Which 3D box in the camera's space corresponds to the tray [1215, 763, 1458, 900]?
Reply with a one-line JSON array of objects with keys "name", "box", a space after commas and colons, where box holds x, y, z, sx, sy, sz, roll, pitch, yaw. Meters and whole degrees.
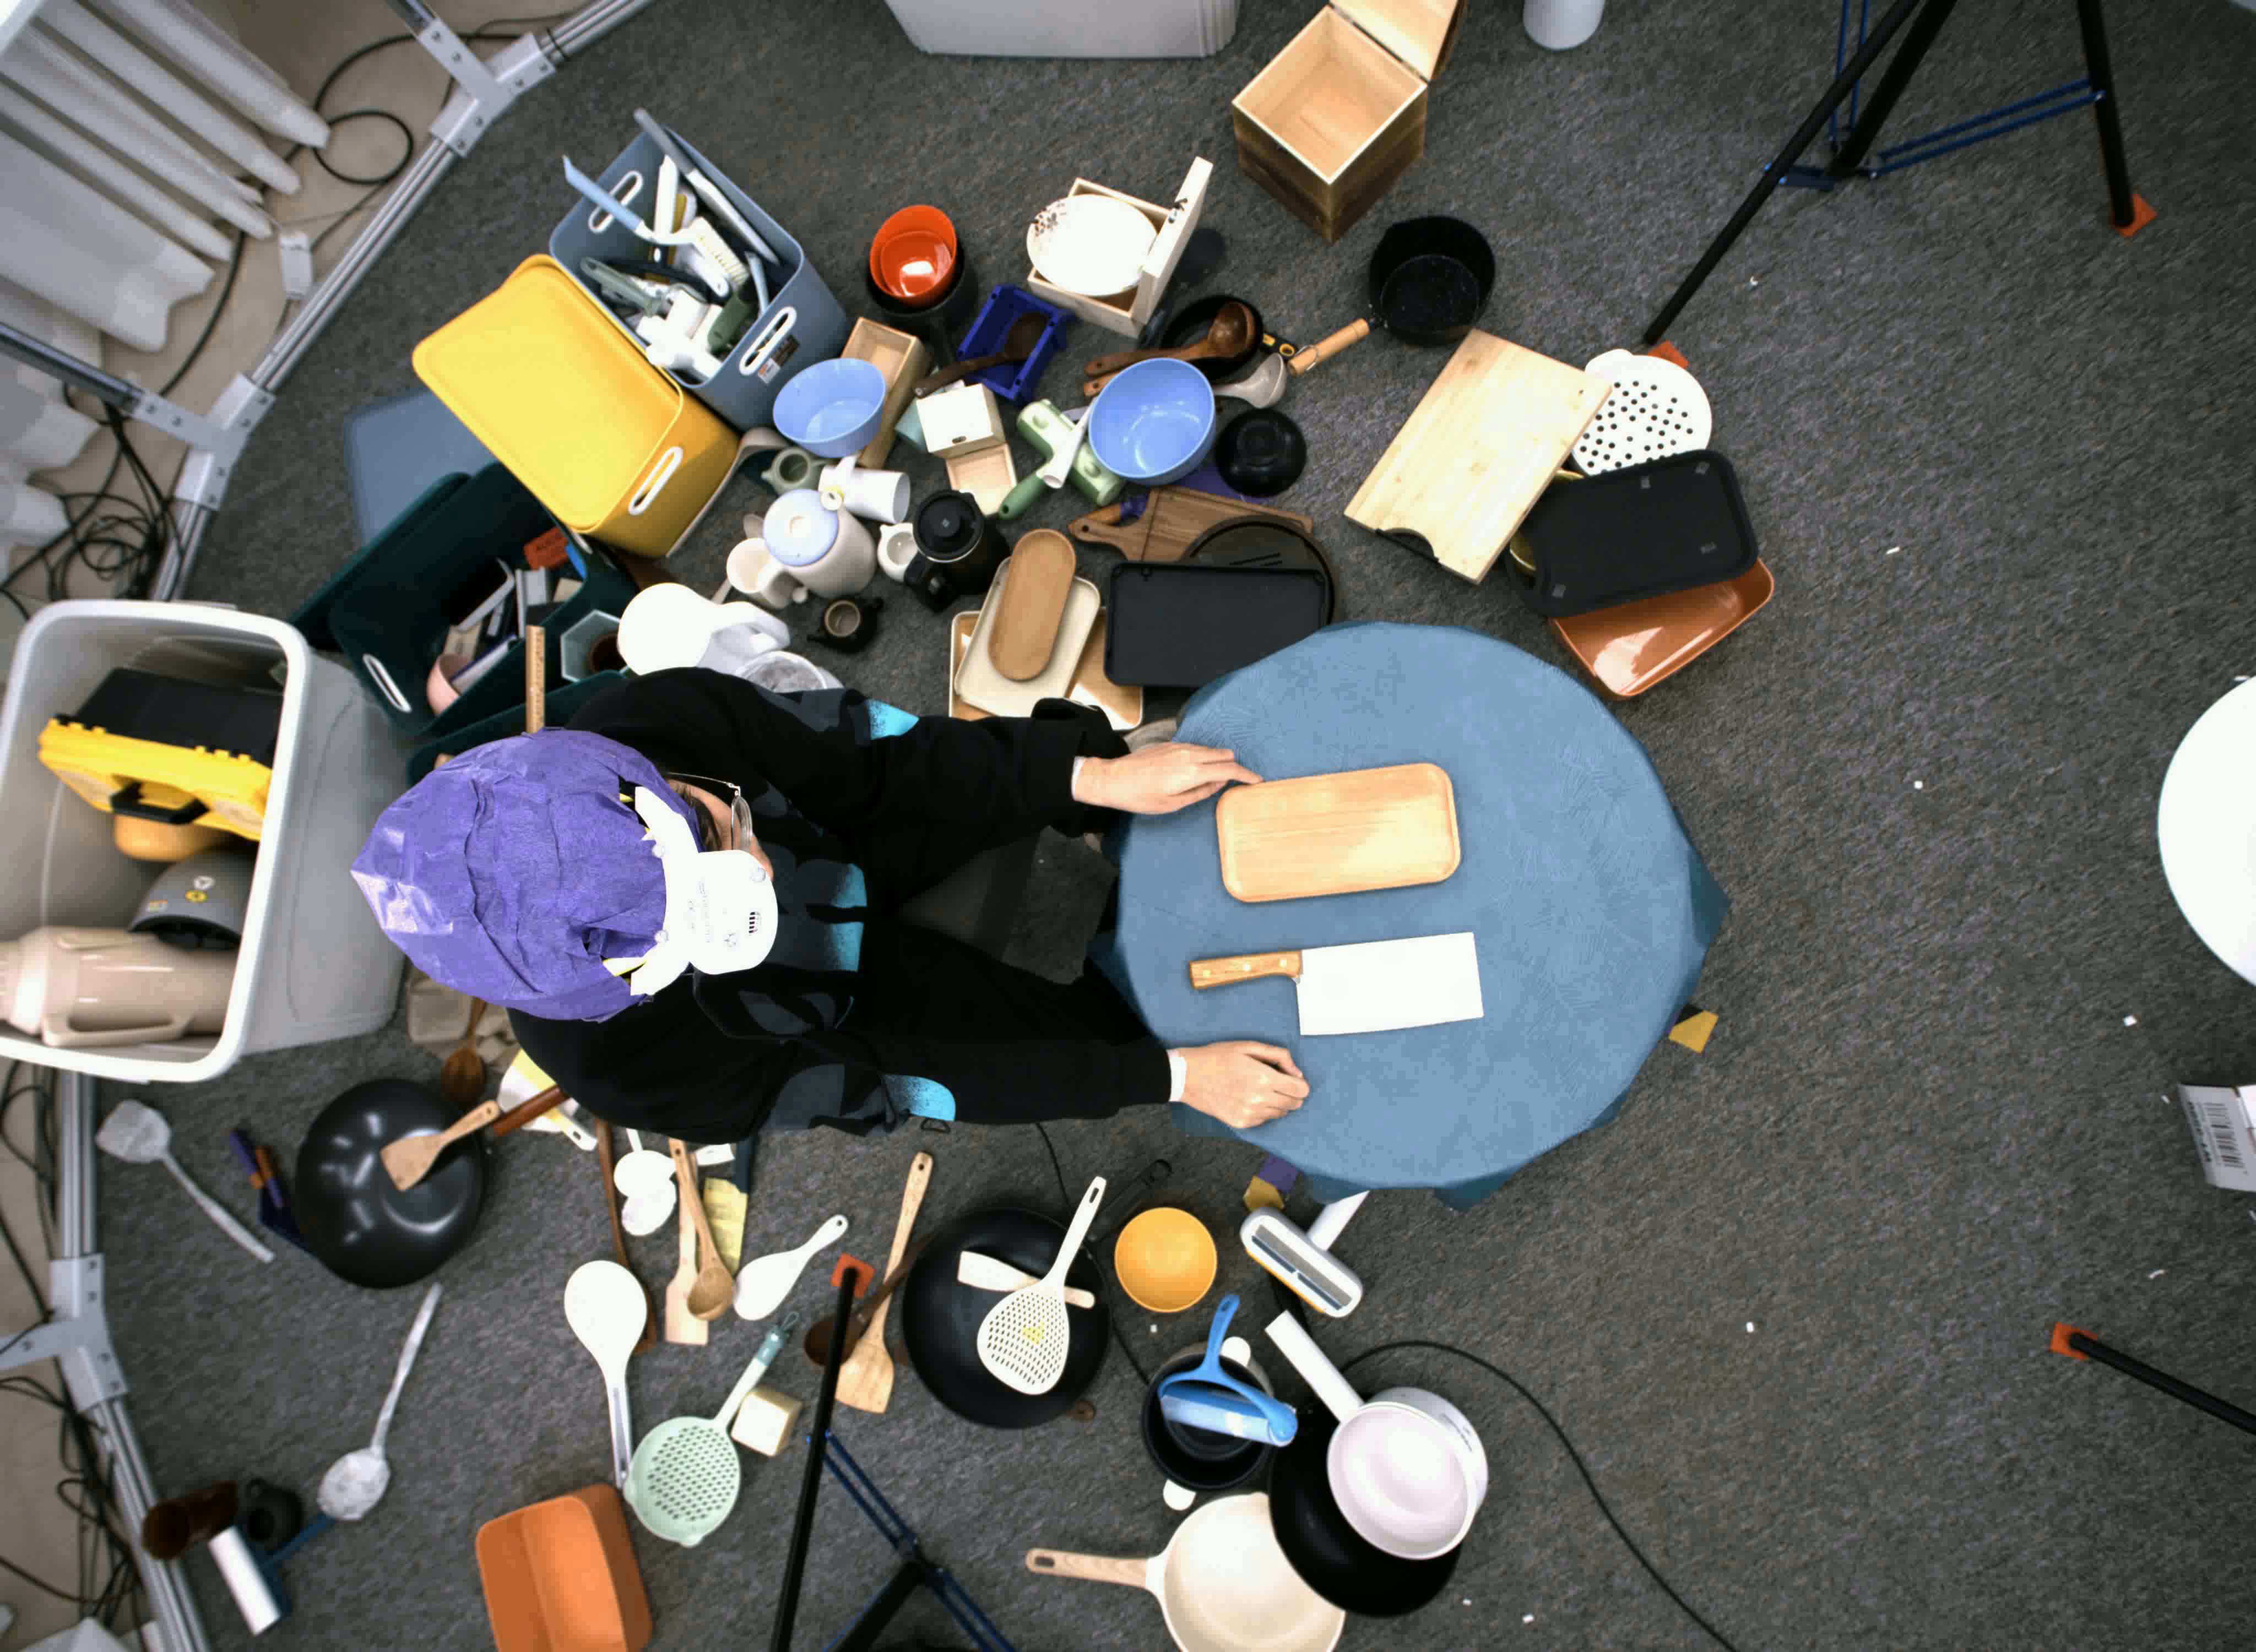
[{"name": "tray", "box": [0.220, 0.006, 1.465, 0.252, 0.023, 0.129, -5, 84, 11]}]

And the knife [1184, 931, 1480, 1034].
[{"name": "knife", "box": [0.214, 0.169, 1.457, 0.307, 0.021, 0.092, -7, 87, 8]}]
